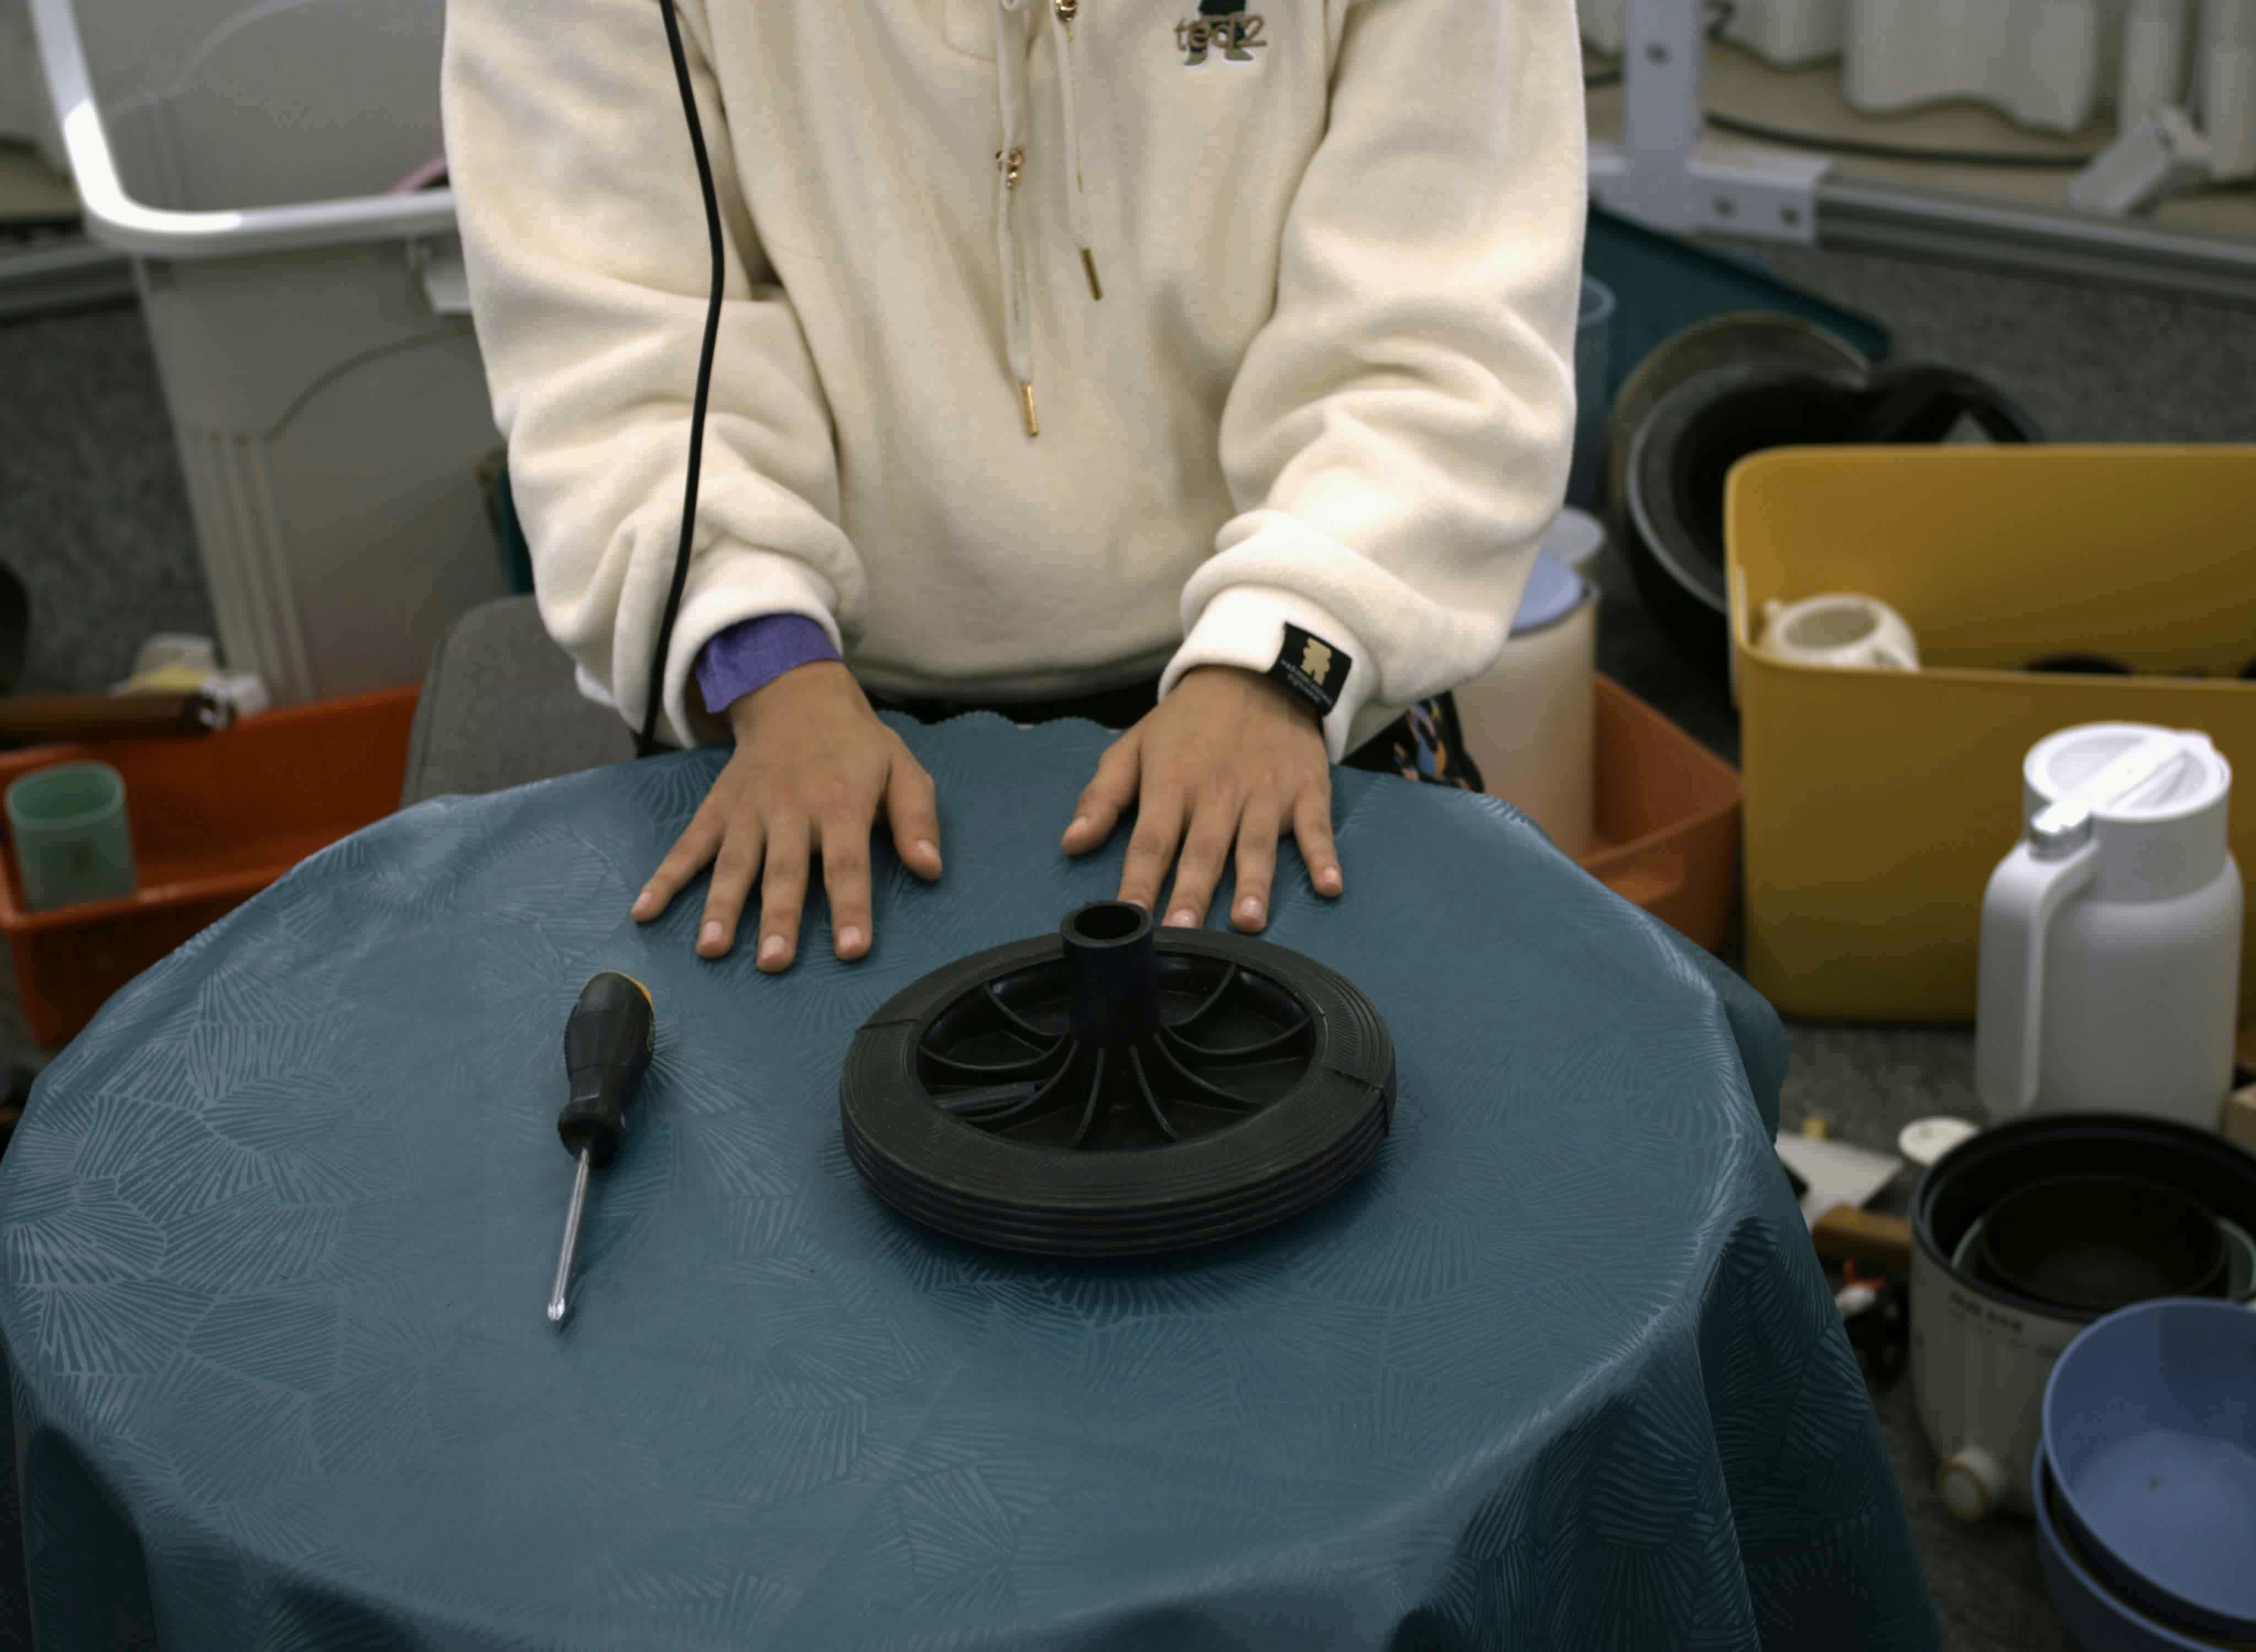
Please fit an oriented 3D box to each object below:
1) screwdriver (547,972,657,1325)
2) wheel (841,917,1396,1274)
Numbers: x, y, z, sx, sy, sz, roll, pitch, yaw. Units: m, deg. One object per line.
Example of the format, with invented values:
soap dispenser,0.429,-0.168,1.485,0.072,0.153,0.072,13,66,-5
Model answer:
screwdriver,-0.177,0.107,1.880,0.031,0.031,0.199,-2,29,1
wheel,-0.006,0.073,1.877,0.191,0.078,0.188,-24,33,-29
